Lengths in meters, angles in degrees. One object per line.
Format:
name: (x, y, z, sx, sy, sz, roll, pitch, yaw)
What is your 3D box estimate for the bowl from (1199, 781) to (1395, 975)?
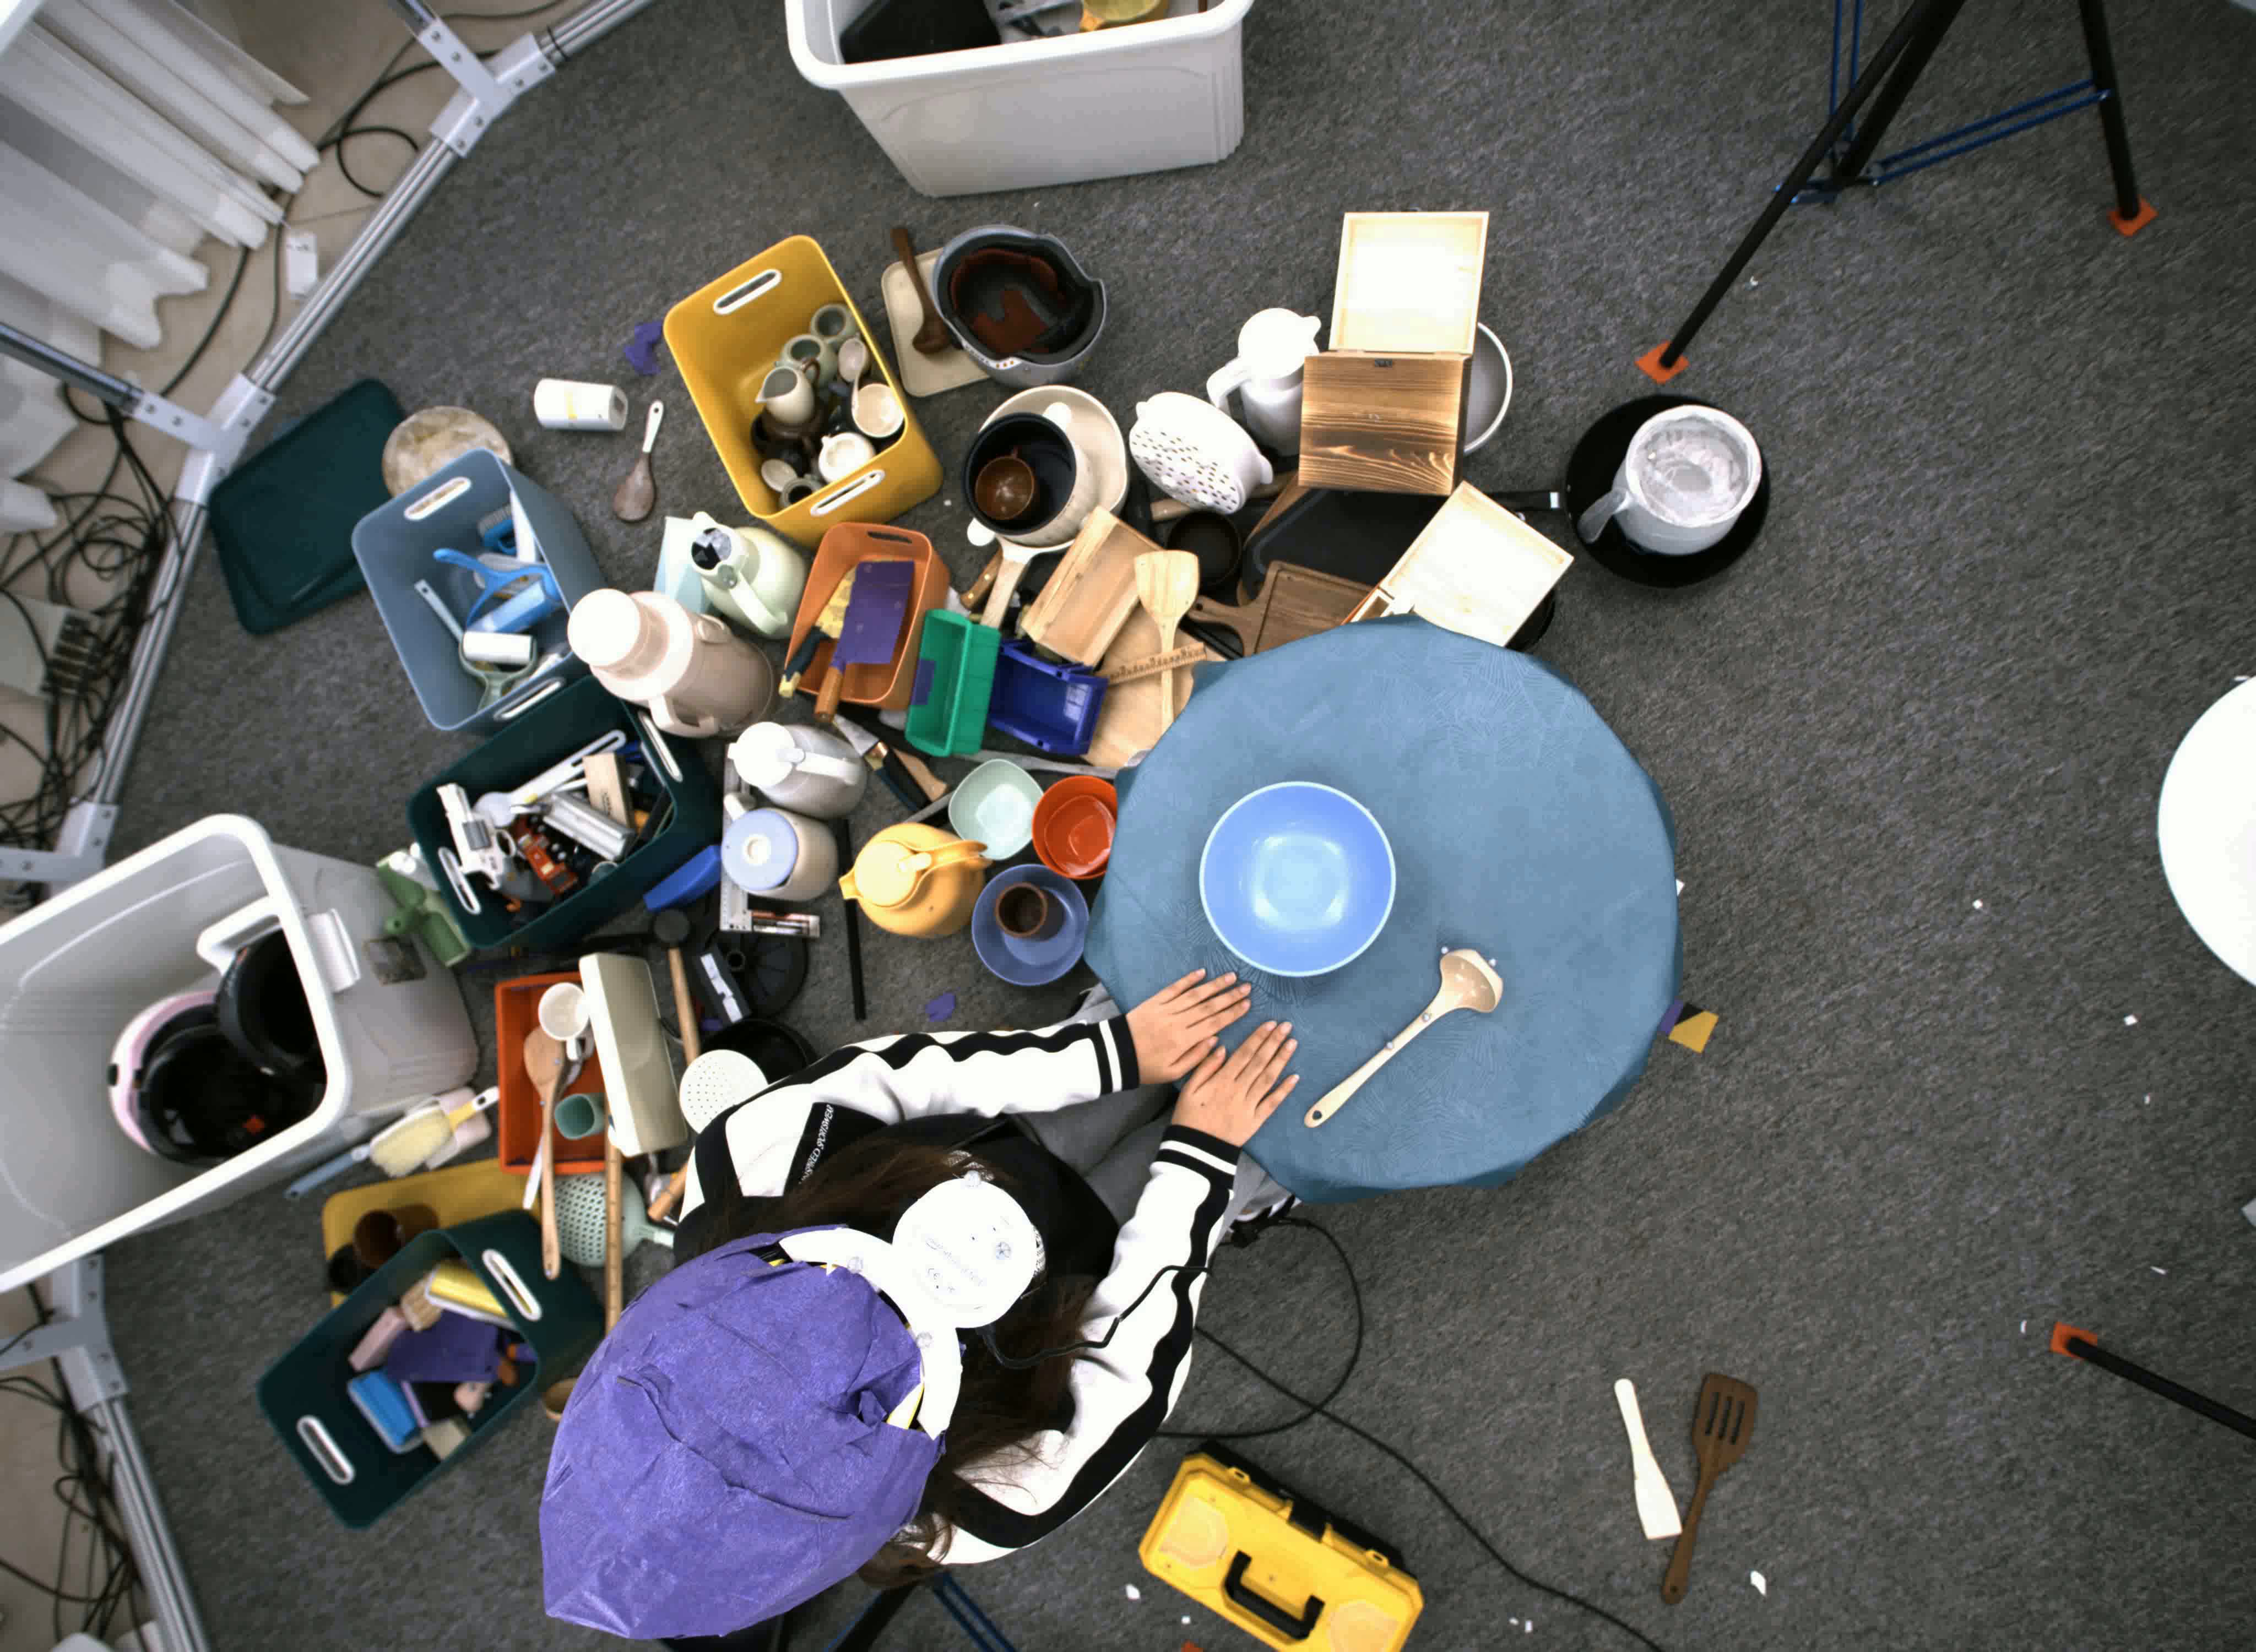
bowl: (0.175, 0.057, 1.430, 0.197, 0.096, 0.195, -1, 84, 9)

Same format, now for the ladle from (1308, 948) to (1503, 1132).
ladle: (0.277, 0.225, 1.413, 0.255, 0.073, 0.072, -44, 79, 5)
